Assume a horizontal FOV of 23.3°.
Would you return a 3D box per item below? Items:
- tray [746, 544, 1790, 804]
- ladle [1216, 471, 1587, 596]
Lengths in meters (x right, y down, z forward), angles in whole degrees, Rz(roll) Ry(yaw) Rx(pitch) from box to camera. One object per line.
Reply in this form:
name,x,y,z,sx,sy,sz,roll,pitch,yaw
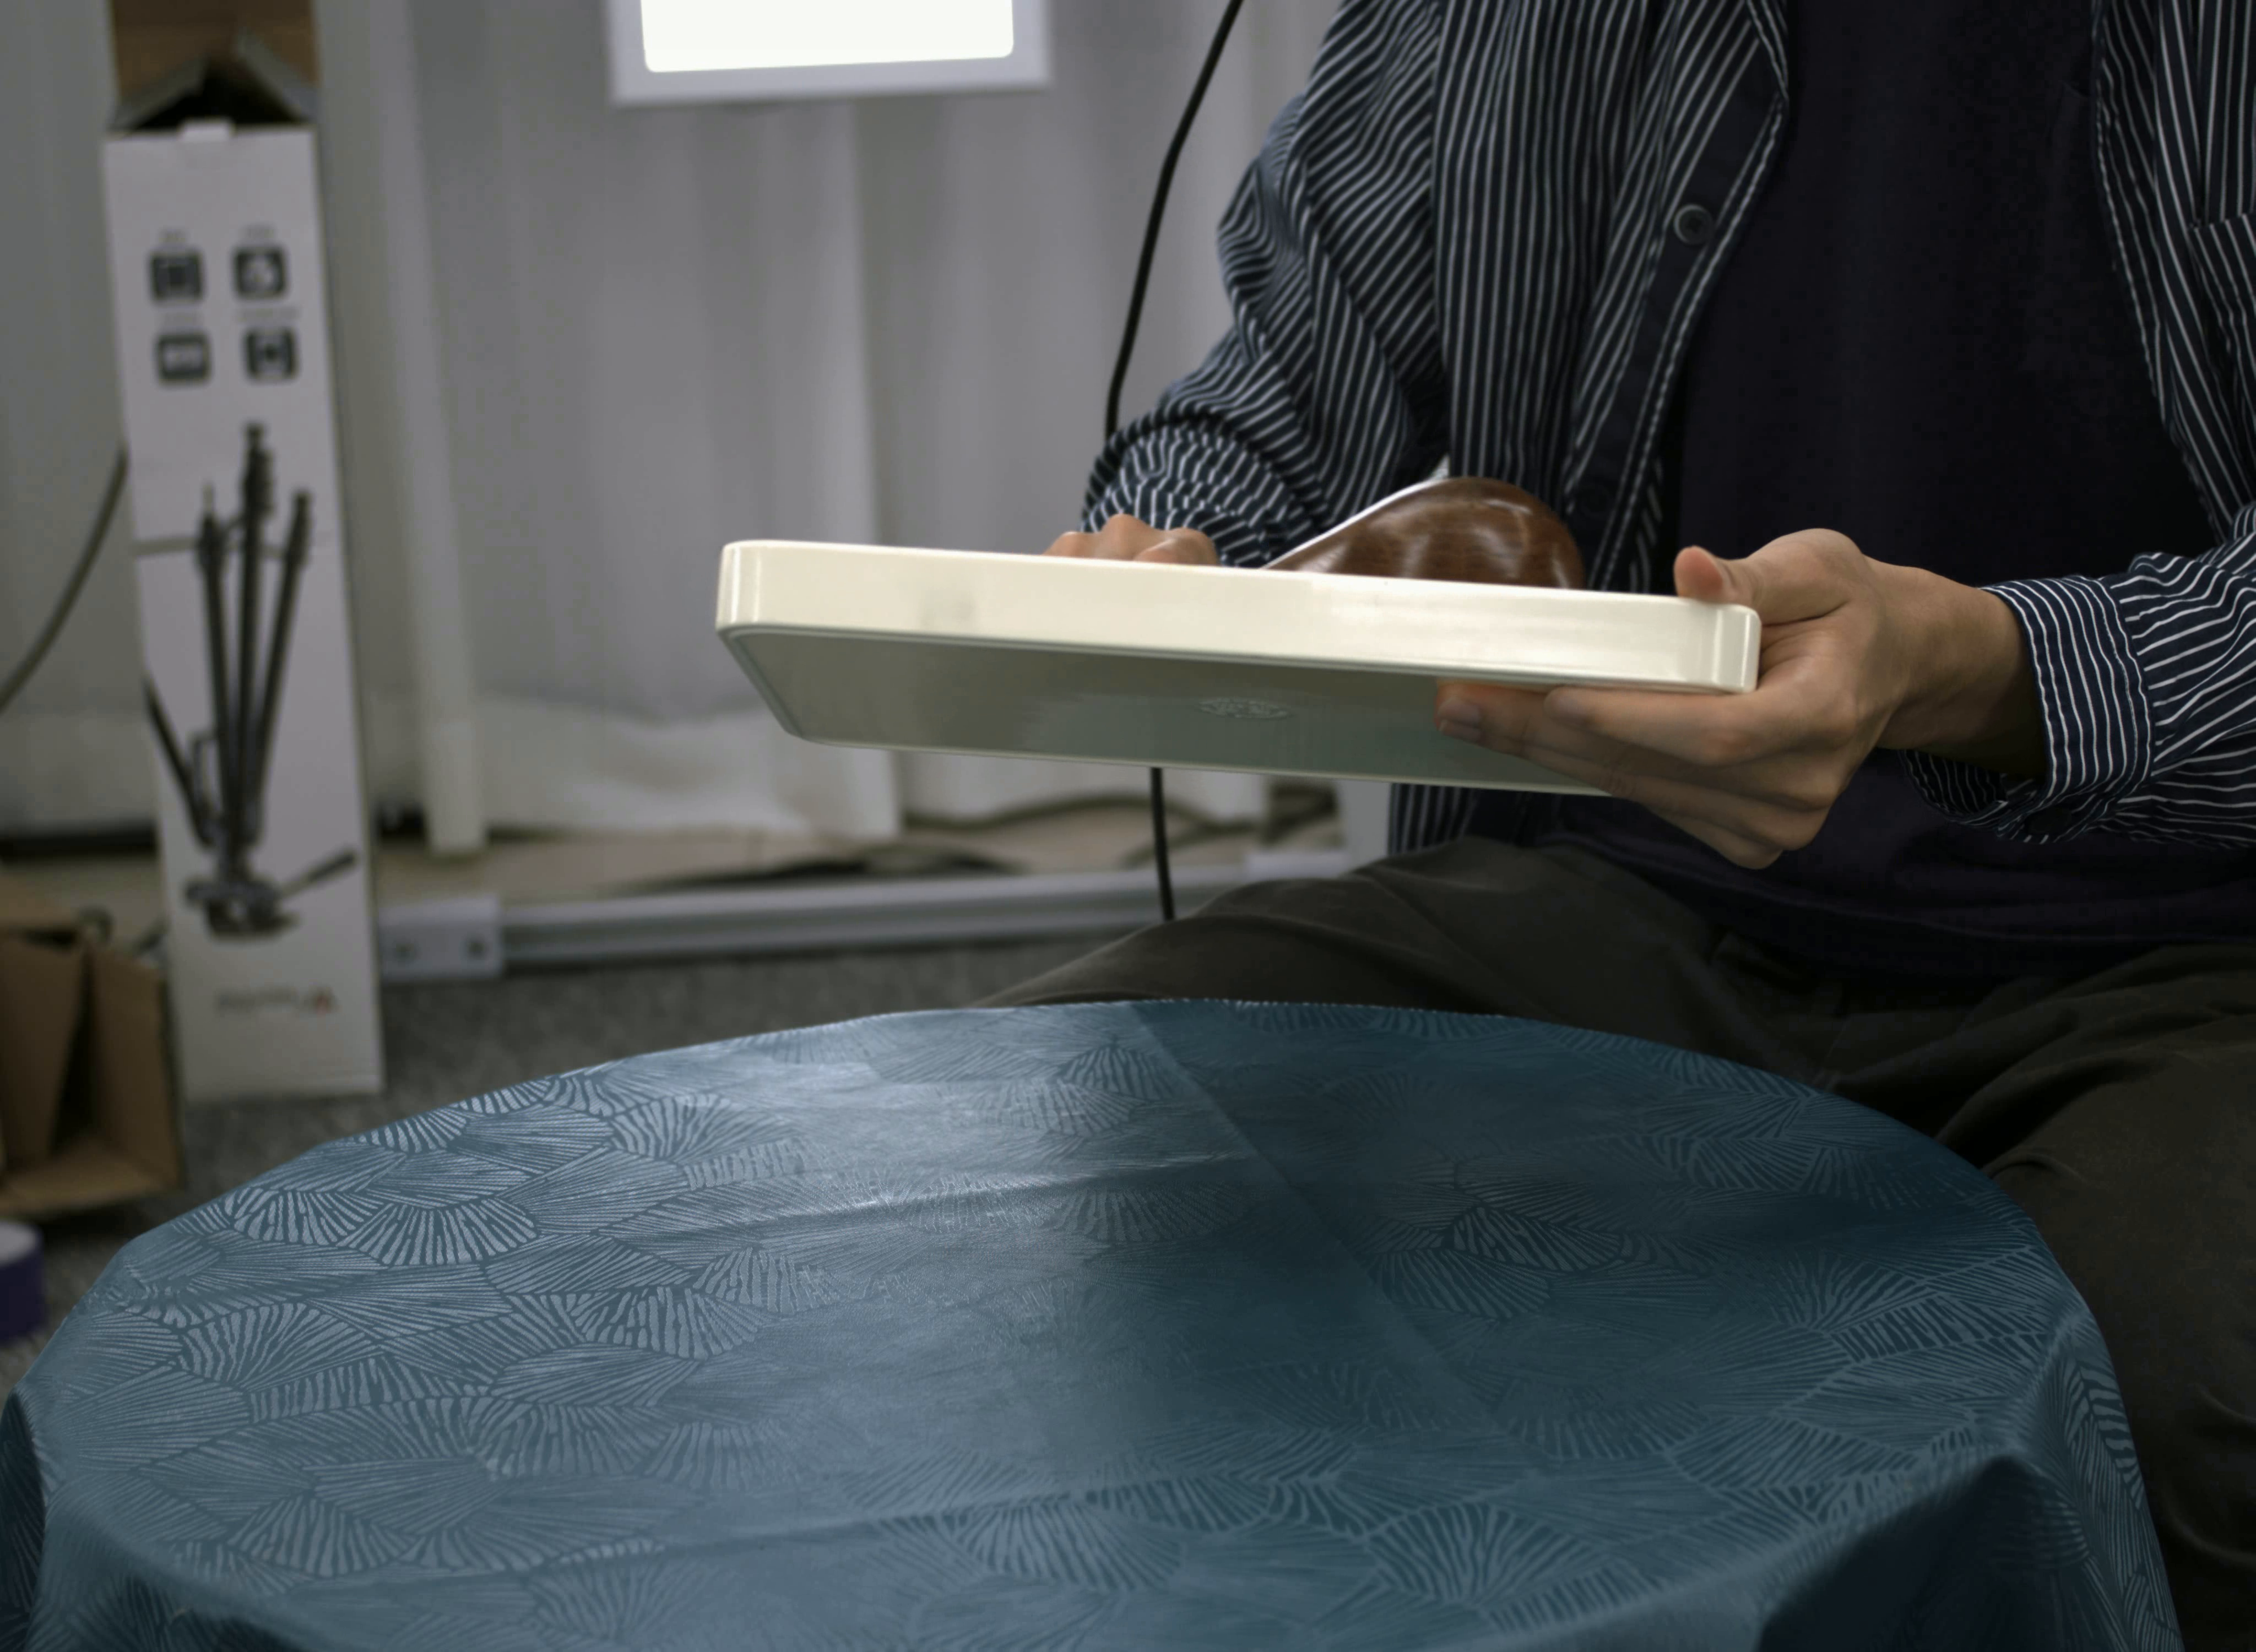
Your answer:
tray,0.044,-0.043,1.639,0.299,0.027,0.190,4,-10,6
ladle,0.052,-0.056,1.757,0.076,0.082,0.273,29,-21,-19
